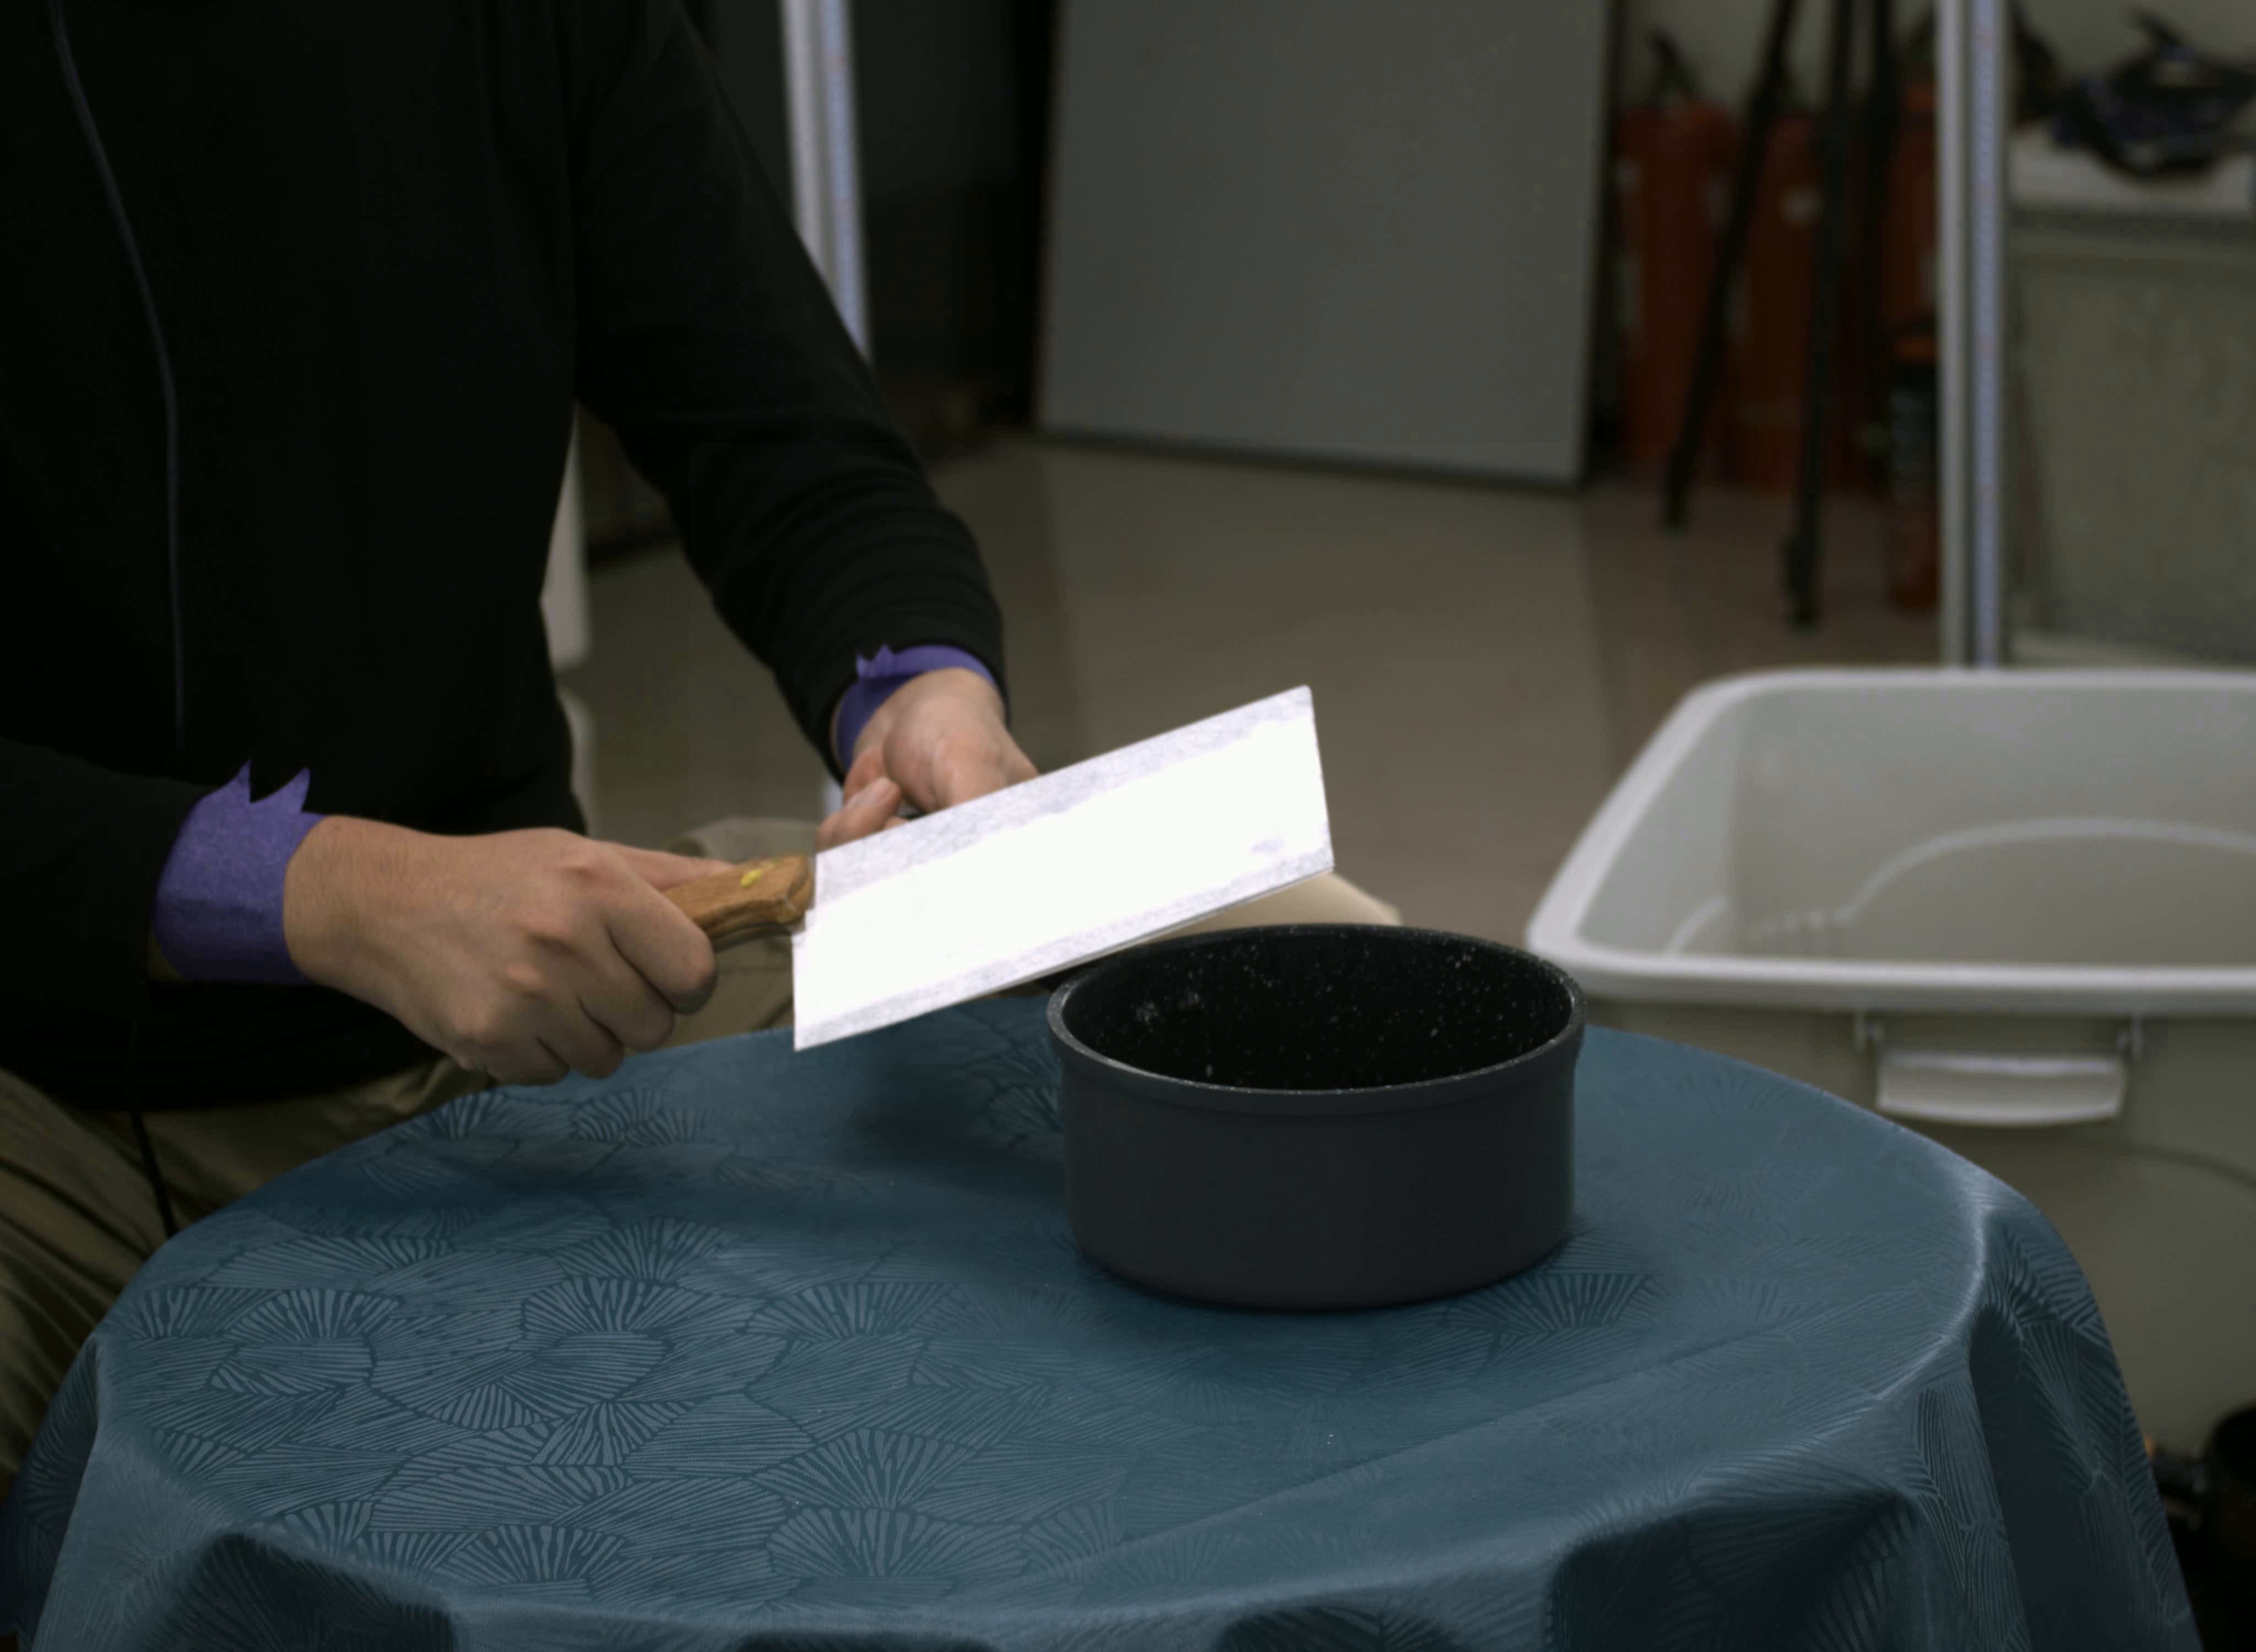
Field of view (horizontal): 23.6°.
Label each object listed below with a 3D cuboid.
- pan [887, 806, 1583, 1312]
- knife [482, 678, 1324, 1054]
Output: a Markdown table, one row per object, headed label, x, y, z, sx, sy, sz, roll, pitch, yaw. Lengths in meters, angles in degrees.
| label | x | y | z | sx | sy | sz | roll | pitch | yaw |
| --- | --- | --- | --- | --- | --- | --- | --- | --- | --- |
| pan | 0.016 | 0.072 | 1.770 | 0.168 | 0.087 | 0.332 | -12 | 19 | -31 |
| knife | -0.077 | 0.030 | 1.780 | 0.305 | 0.021 | 0.094 | -20 | 41 | 14 |
